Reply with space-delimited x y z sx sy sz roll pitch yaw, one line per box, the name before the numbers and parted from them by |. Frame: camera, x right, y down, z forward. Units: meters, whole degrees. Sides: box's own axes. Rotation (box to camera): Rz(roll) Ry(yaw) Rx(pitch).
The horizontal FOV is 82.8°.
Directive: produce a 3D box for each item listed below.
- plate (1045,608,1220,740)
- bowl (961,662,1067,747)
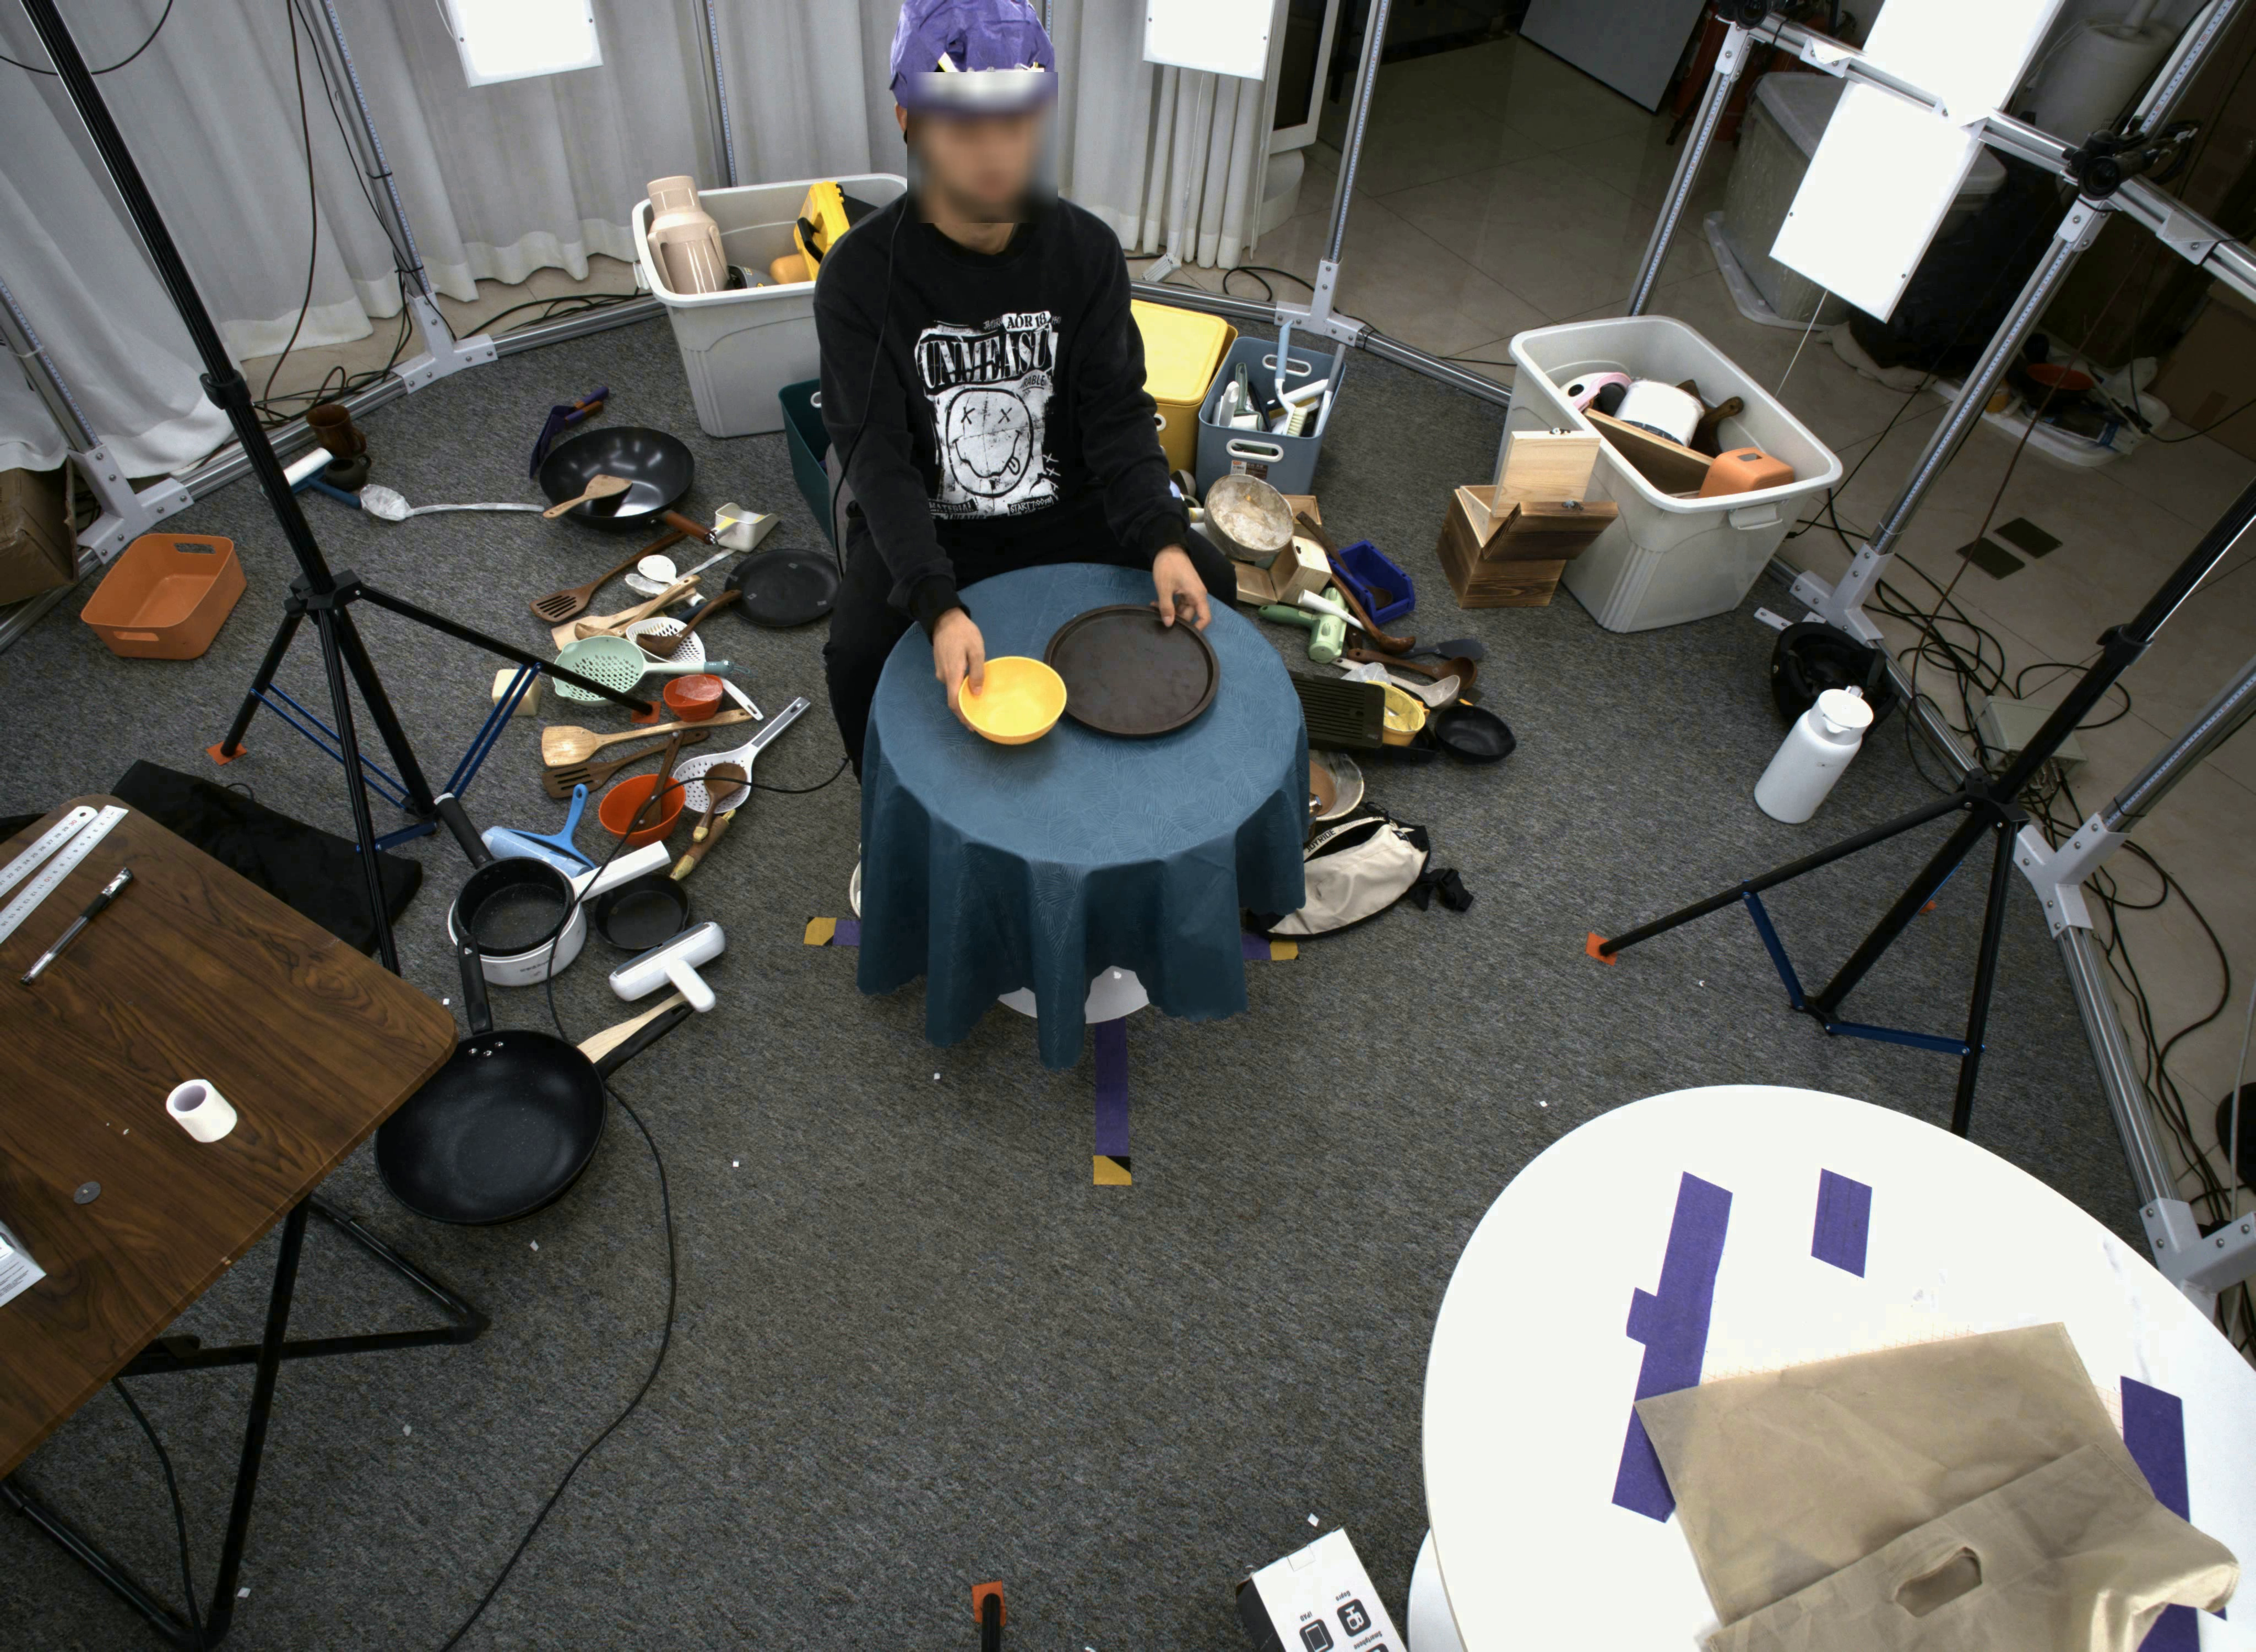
plate | 0.007 -0.221 1.855 0.254 0.028 0.261 0 51 -1
bowl | -0.156 -0.155 1.765 0.145 0.058 0.149 1 49 -2
